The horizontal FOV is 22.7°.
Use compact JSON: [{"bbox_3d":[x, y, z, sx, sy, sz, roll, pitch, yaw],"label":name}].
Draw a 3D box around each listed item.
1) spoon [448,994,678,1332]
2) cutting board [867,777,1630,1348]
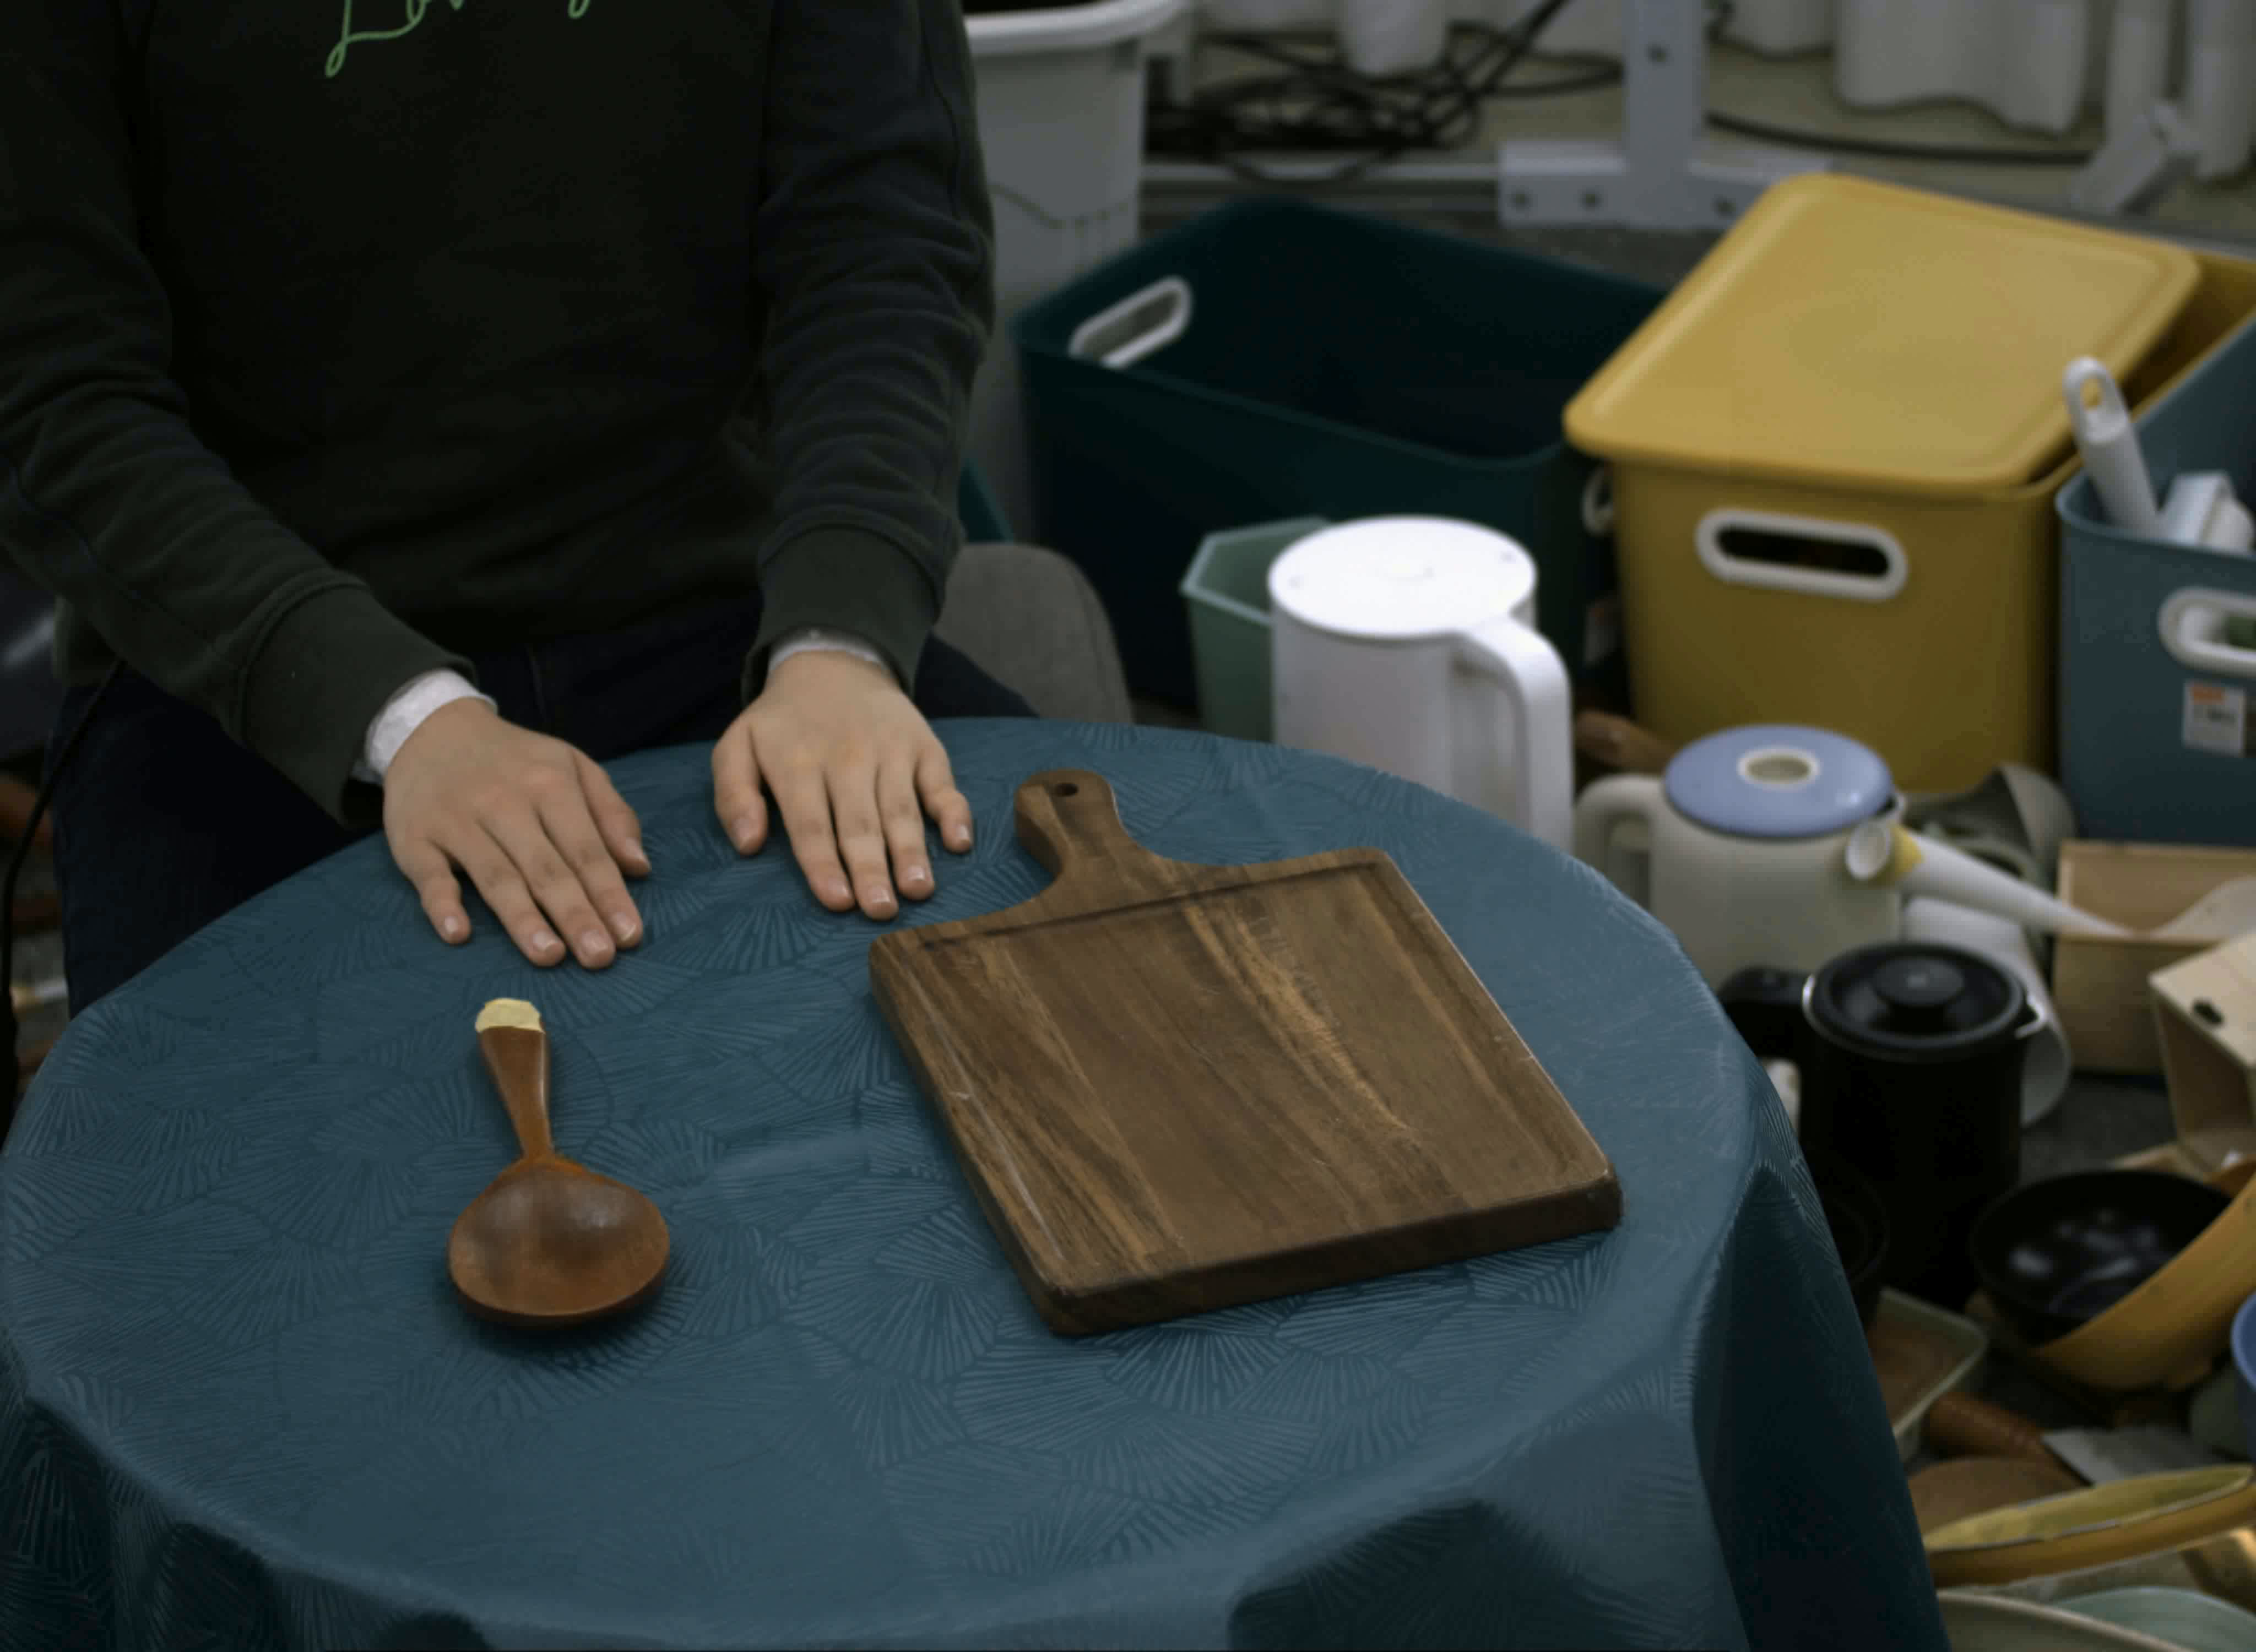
[{"bbox_3d":[-0.196,0.113,1.878,0.075,0.017,0.218,-9,28,-8],"label":"spoon"},{"bbox_3d":[0.022,0.066,1.950,0.201,0.023,0.355,-11,28,-13],"label":"cutting board"}]
